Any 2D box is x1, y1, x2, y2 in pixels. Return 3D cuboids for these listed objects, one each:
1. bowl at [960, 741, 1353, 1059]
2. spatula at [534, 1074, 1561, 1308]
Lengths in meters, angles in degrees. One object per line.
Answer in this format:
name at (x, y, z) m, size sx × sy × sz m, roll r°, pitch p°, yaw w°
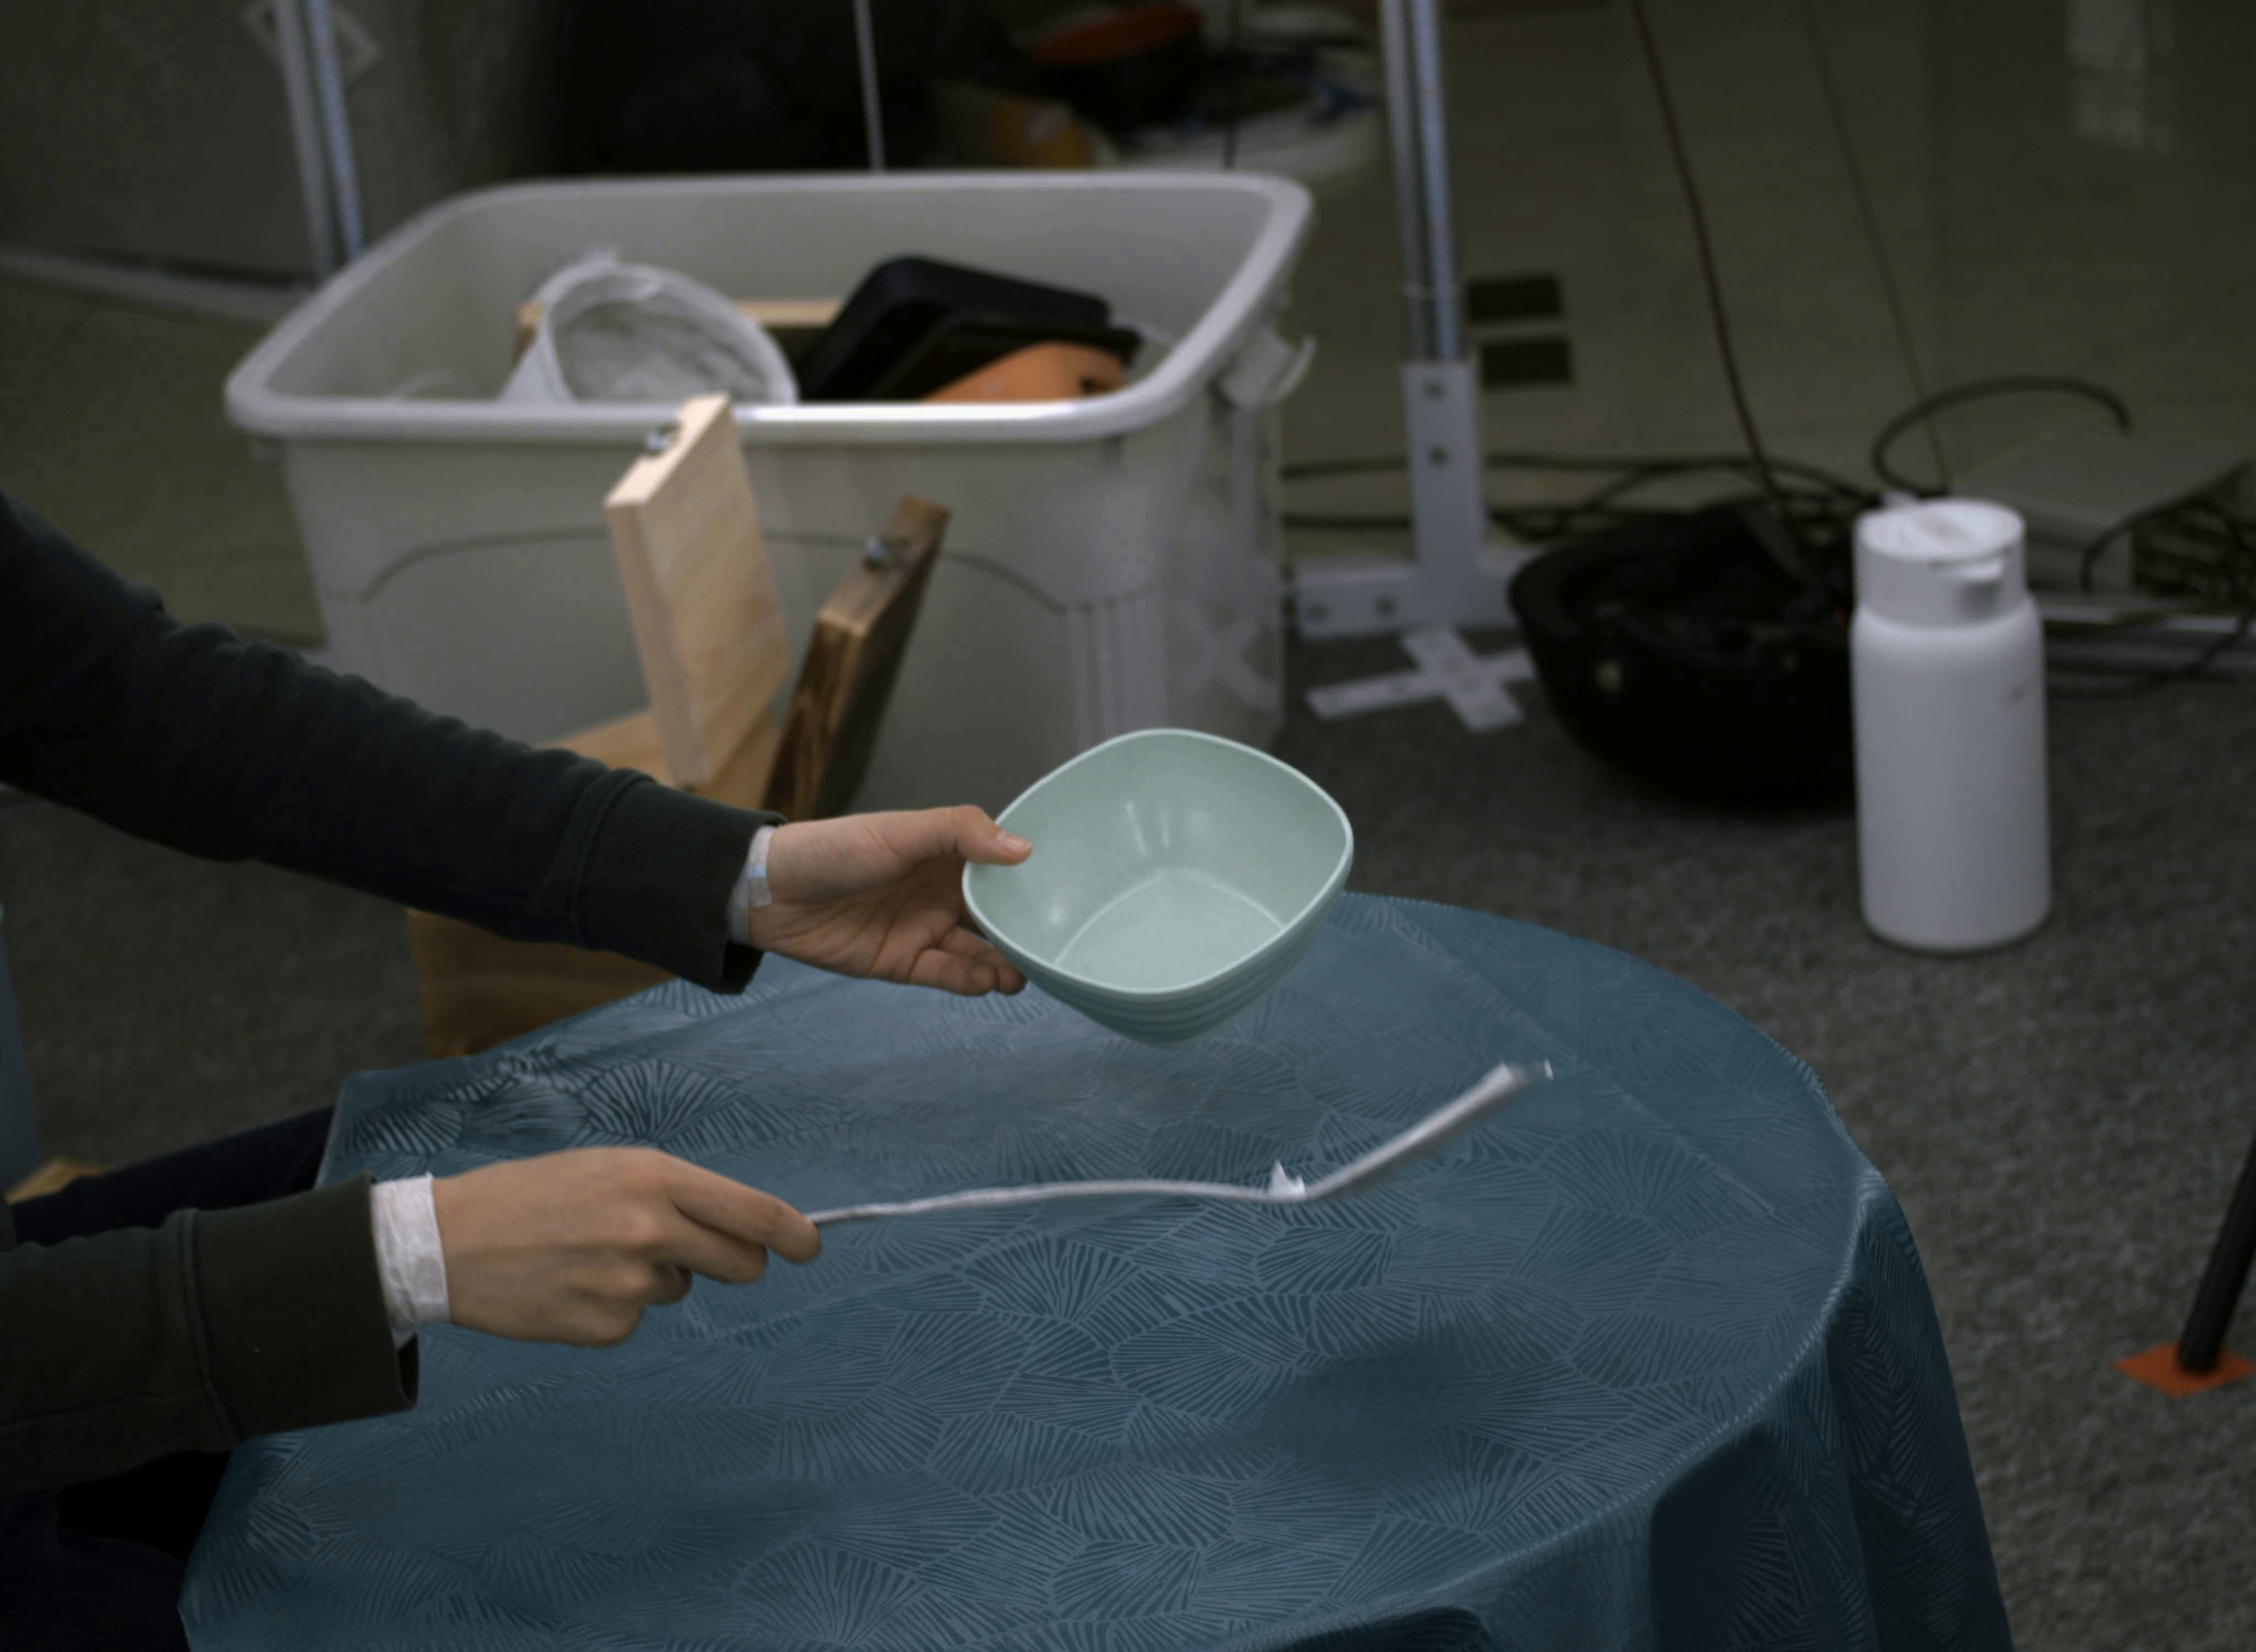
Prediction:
bowl at (0.013, 0.037, 2.187) m, size 0.151 × 0.060 × 0.148 m, roll -4°, pitch 41°, yaw 3°
spatula at (-0.029, 0.127, 1.971) m, size 0.364 × 0.045 × 0.098 m, roll -6°, pitch -1°, yaw -1°
